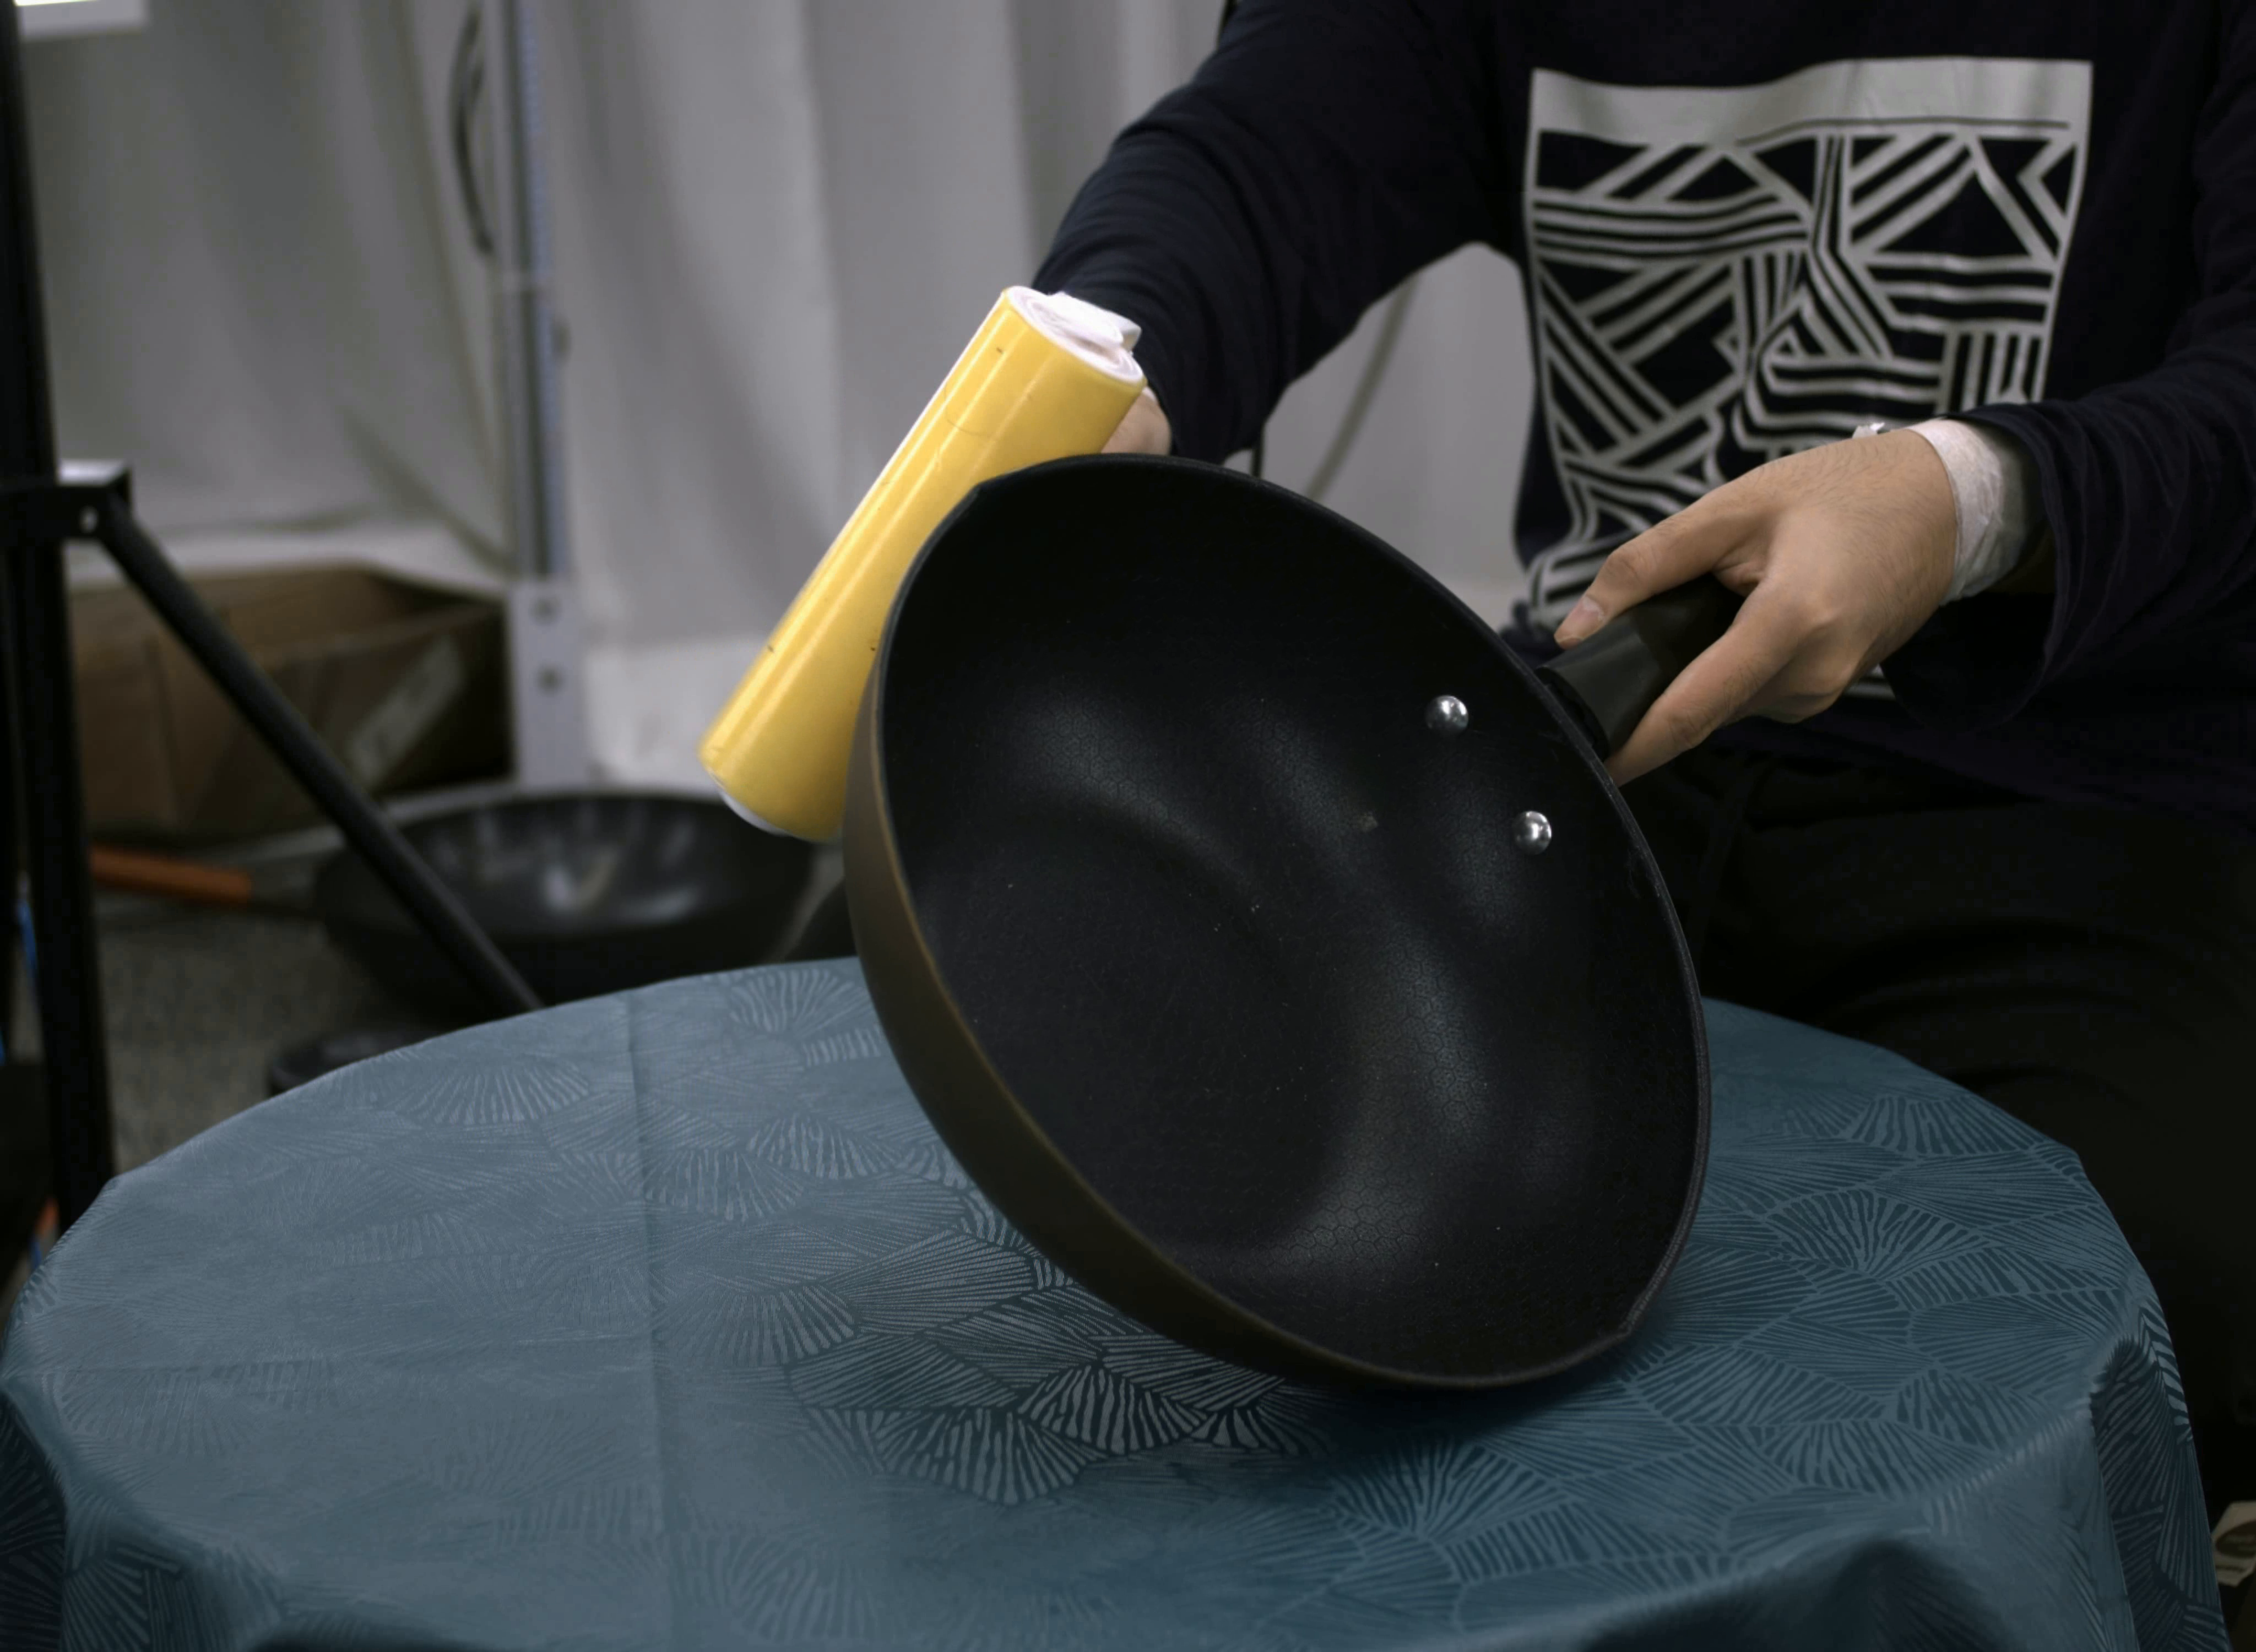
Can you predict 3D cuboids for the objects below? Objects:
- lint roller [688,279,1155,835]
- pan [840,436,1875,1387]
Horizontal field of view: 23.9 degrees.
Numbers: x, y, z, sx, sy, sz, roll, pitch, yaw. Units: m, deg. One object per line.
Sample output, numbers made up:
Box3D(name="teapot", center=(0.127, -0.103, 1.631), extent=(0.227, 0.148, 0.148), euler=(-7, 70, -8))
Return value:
Box3D(name="lint roller", center=(-0.048, -0.088, 1.552), extent=(0.051, 0.175, 0.191), euler=(36, 15, -2))
Box3D(name="pan", center=(0.075, 0.002, 1.507), extent=(0.088, 0.289, 0.455), euler=(-40, -5, 42))
